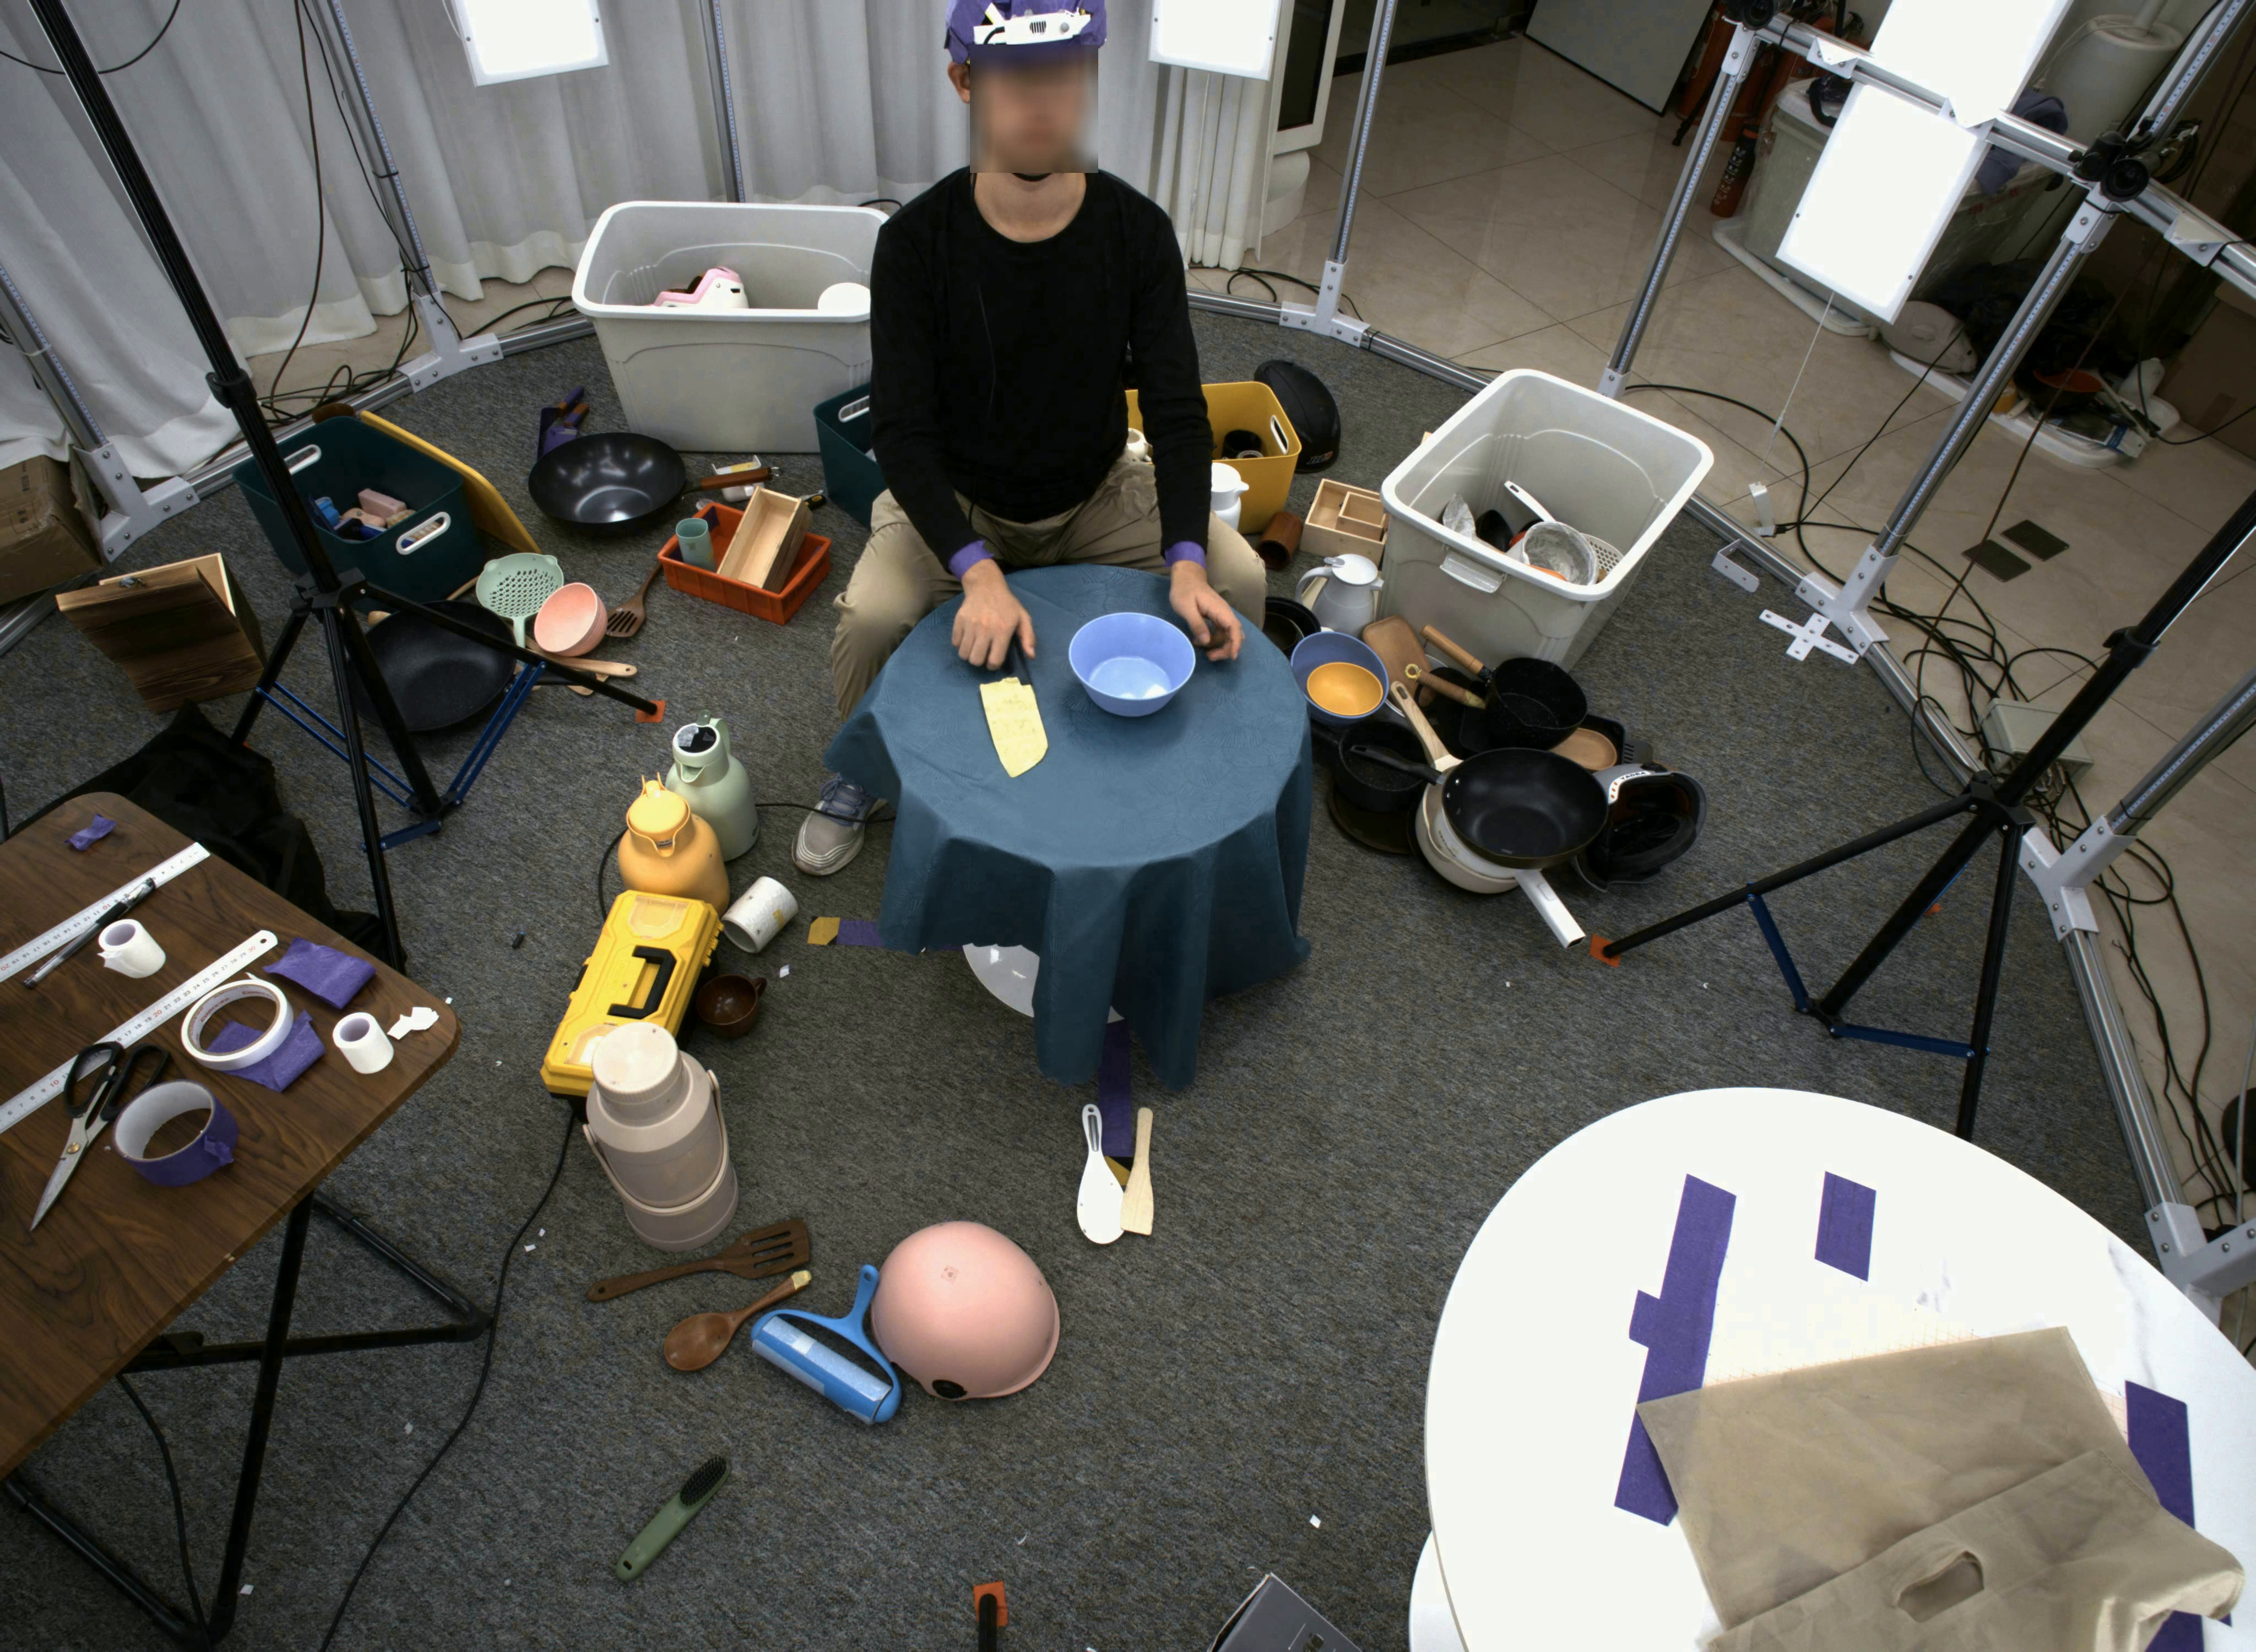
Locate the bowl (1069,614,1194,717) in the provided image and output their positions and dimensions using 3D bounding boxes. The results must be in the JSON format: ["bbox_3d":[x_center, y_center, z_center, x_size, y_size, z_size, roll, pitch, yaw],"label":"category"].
[{"bbox_3d":[0.003,-0.218,1.814,0.176,0.068,0.180,1,50,-2],"label":"bowl"}]

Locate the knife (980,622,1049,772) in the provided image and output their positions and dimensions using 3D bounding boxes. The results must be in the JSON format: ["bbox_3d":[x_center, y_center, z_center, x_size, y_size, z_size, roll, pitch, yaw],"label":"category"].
[{"bbox_3d":[-0.166,-0.185,1.810,0.081,0.026,0.297,-6,51,-10],"label":"knife"}]
